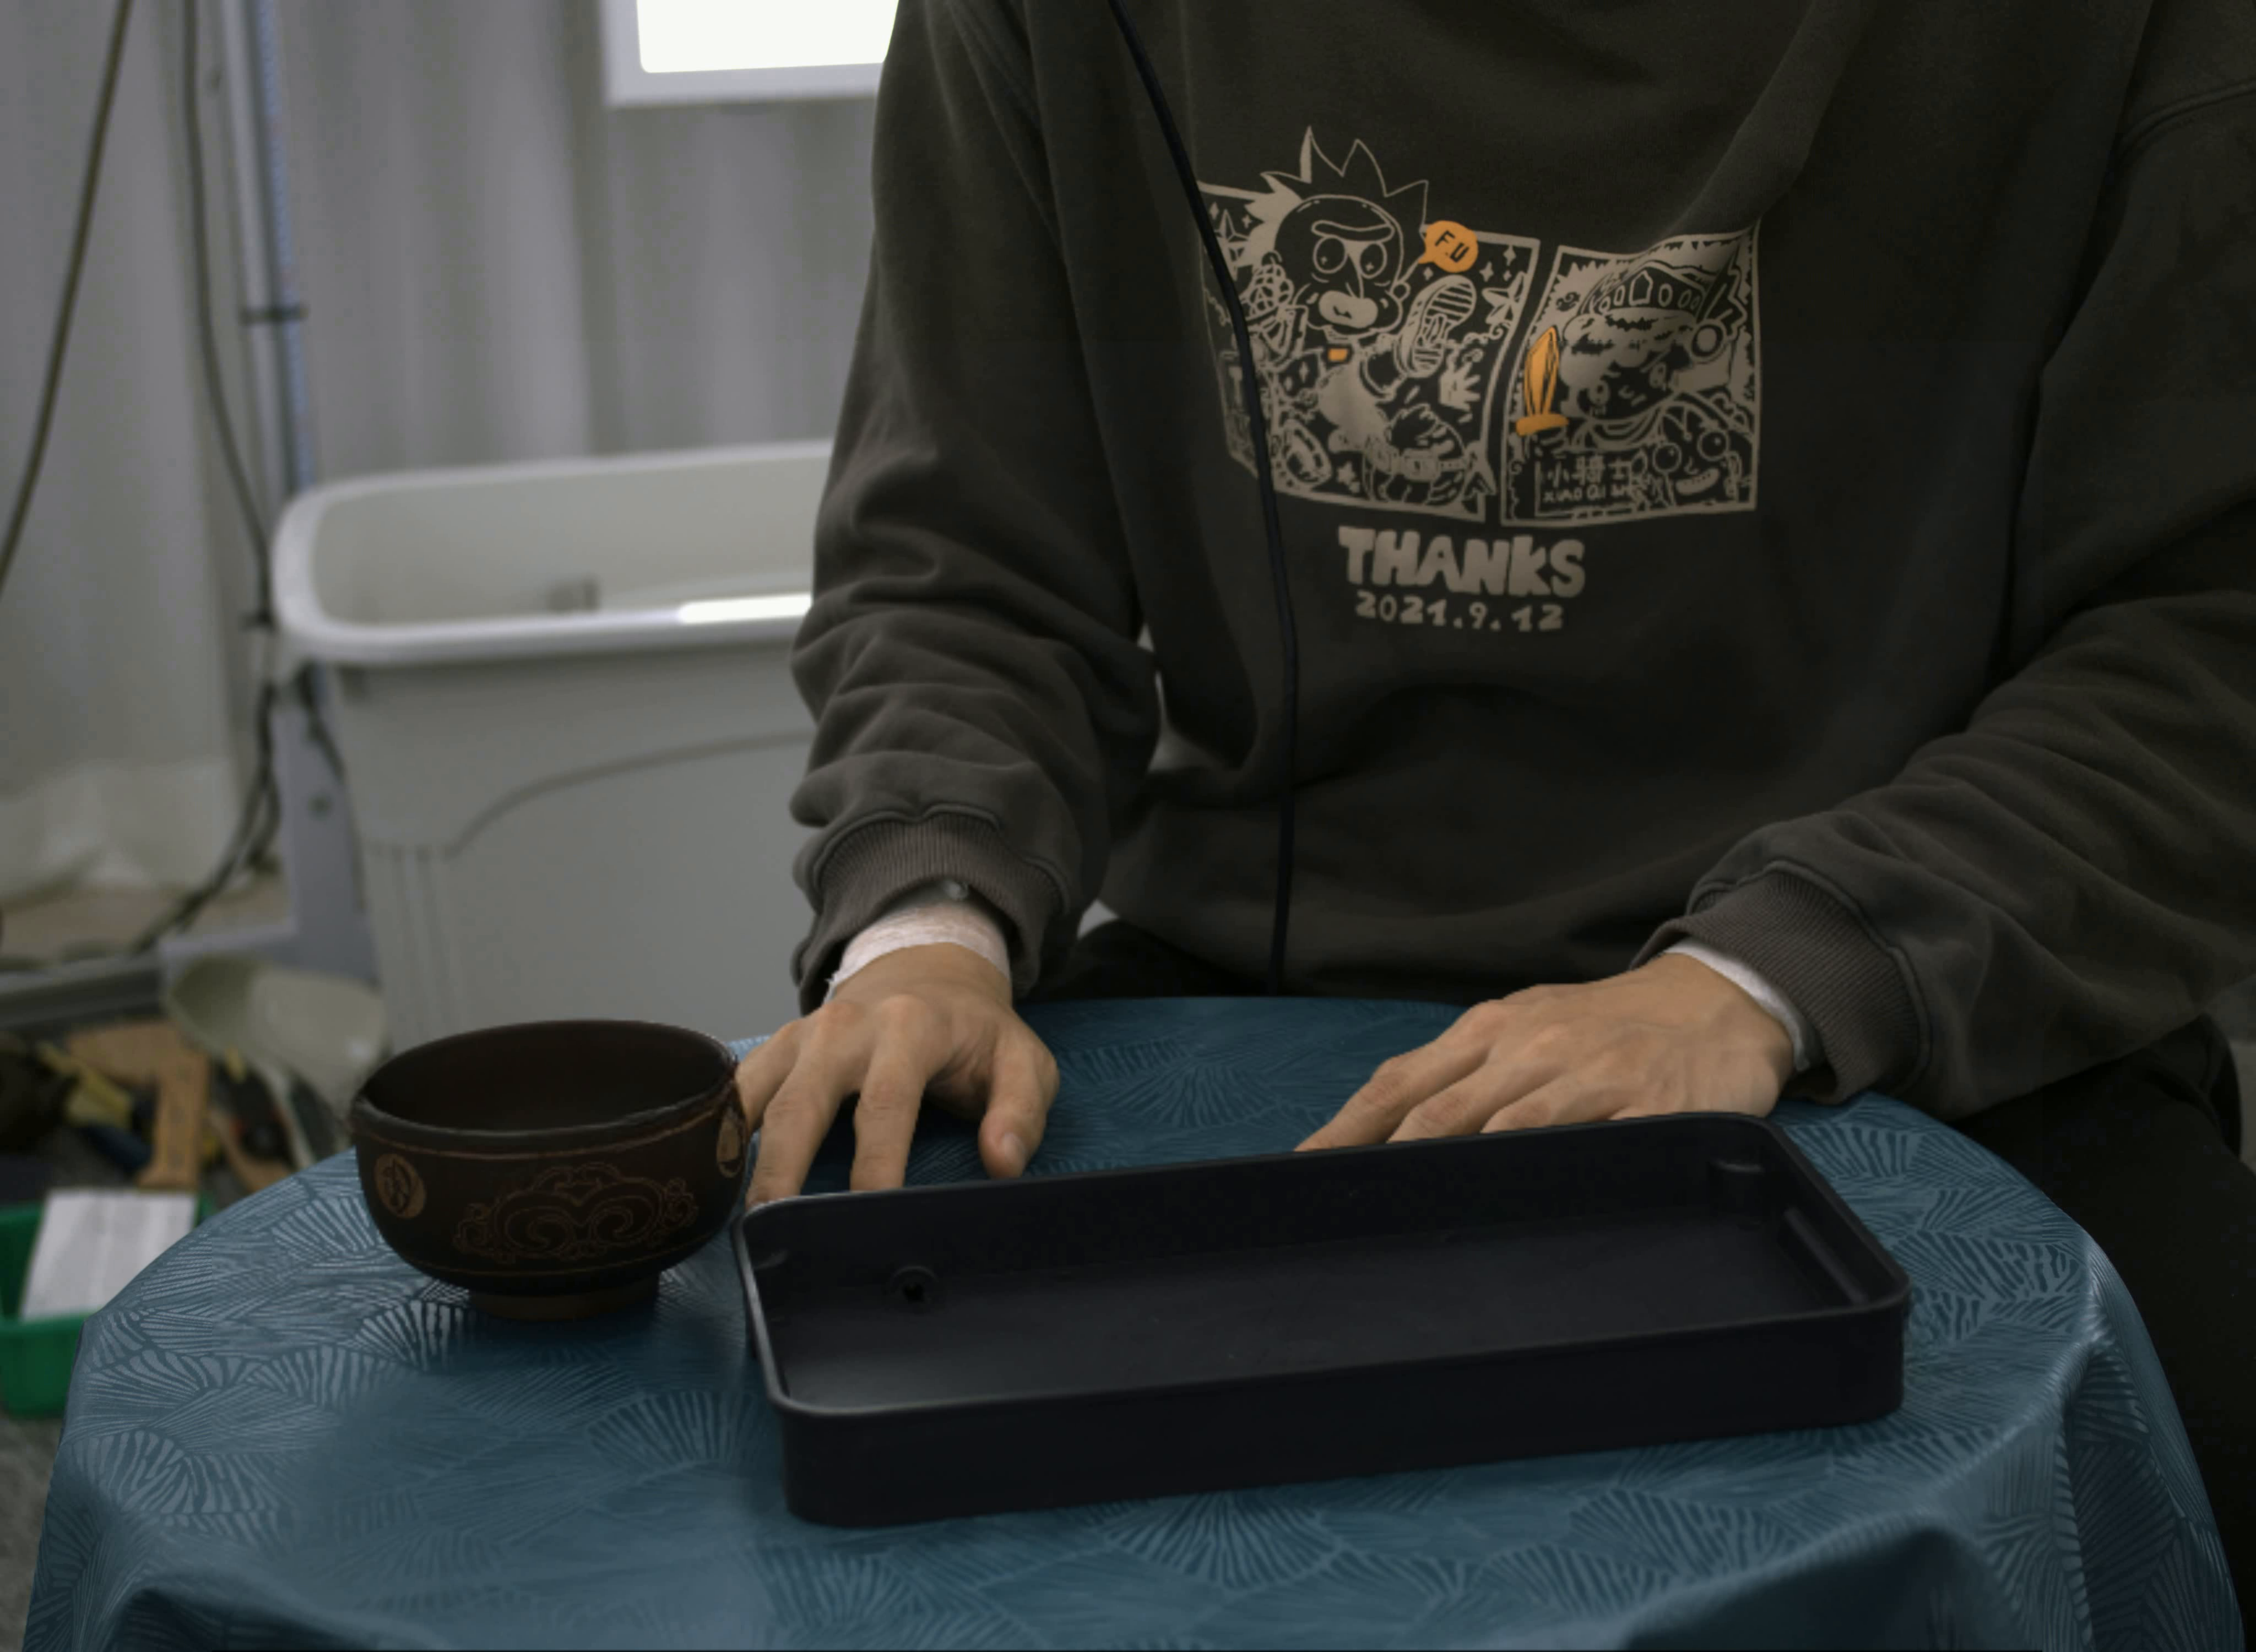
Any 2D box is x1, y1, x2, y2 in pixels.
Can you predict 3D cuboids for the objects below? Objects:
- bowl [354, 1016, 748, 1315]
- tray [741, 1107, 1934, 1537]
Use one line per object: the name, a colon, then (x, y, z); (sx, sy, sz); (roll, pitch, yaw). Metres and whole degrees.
bowl: (-0.173, 0.106, 1.650); (0.117, 0.069, 0.119); (-2, 13, 0)
tray: (0.056, 0.138, 1.559); (0.316, 0.037, 0.185); (-6, 15, -9)
